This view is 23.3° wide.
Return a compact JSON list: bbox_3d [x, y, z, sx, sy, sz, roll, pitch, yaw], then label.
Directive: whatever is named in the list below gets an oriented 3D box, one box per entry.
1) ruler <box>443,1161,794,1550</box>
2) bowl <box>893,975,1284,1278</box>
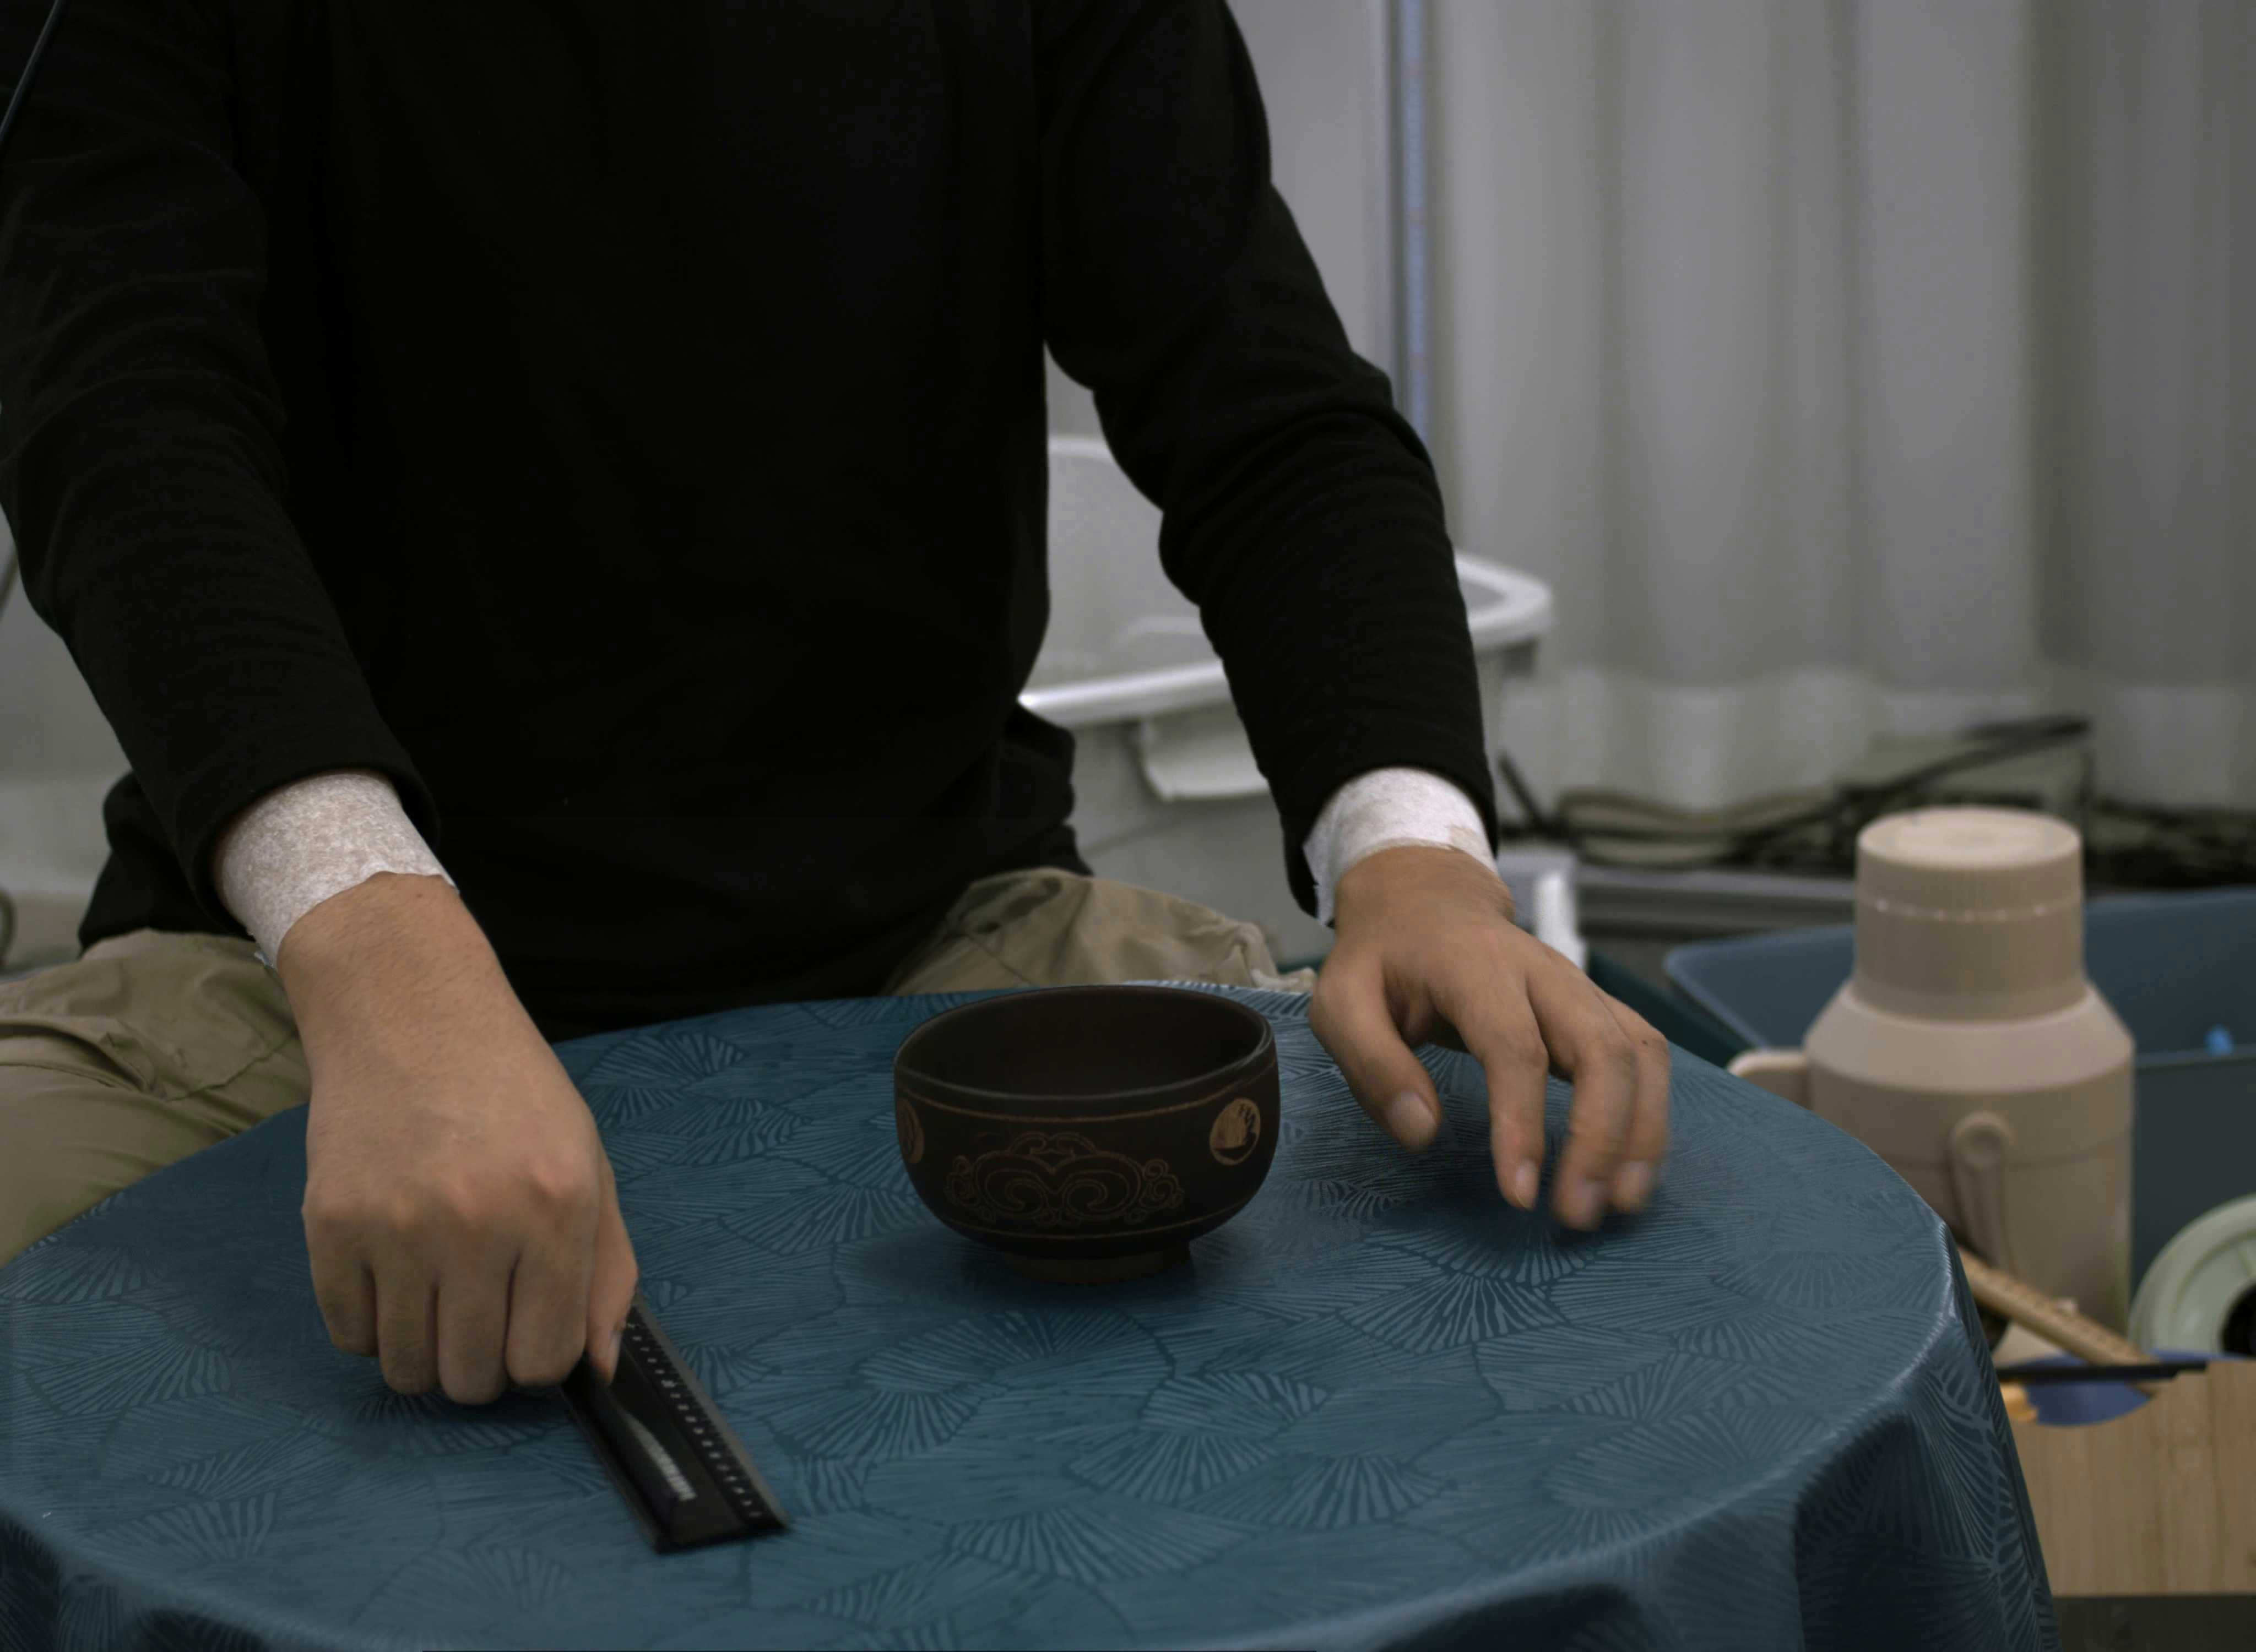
[{"bbox_3d":[-0.152,0.147,1.590,0.039,0.017,0.315,-7,15,-16],"label":"ruler"},{"bbox_3d":[-0.011,0.094,1.650,0.117,0.069,0.119,-2,15,0],"label":"bowl"}]
